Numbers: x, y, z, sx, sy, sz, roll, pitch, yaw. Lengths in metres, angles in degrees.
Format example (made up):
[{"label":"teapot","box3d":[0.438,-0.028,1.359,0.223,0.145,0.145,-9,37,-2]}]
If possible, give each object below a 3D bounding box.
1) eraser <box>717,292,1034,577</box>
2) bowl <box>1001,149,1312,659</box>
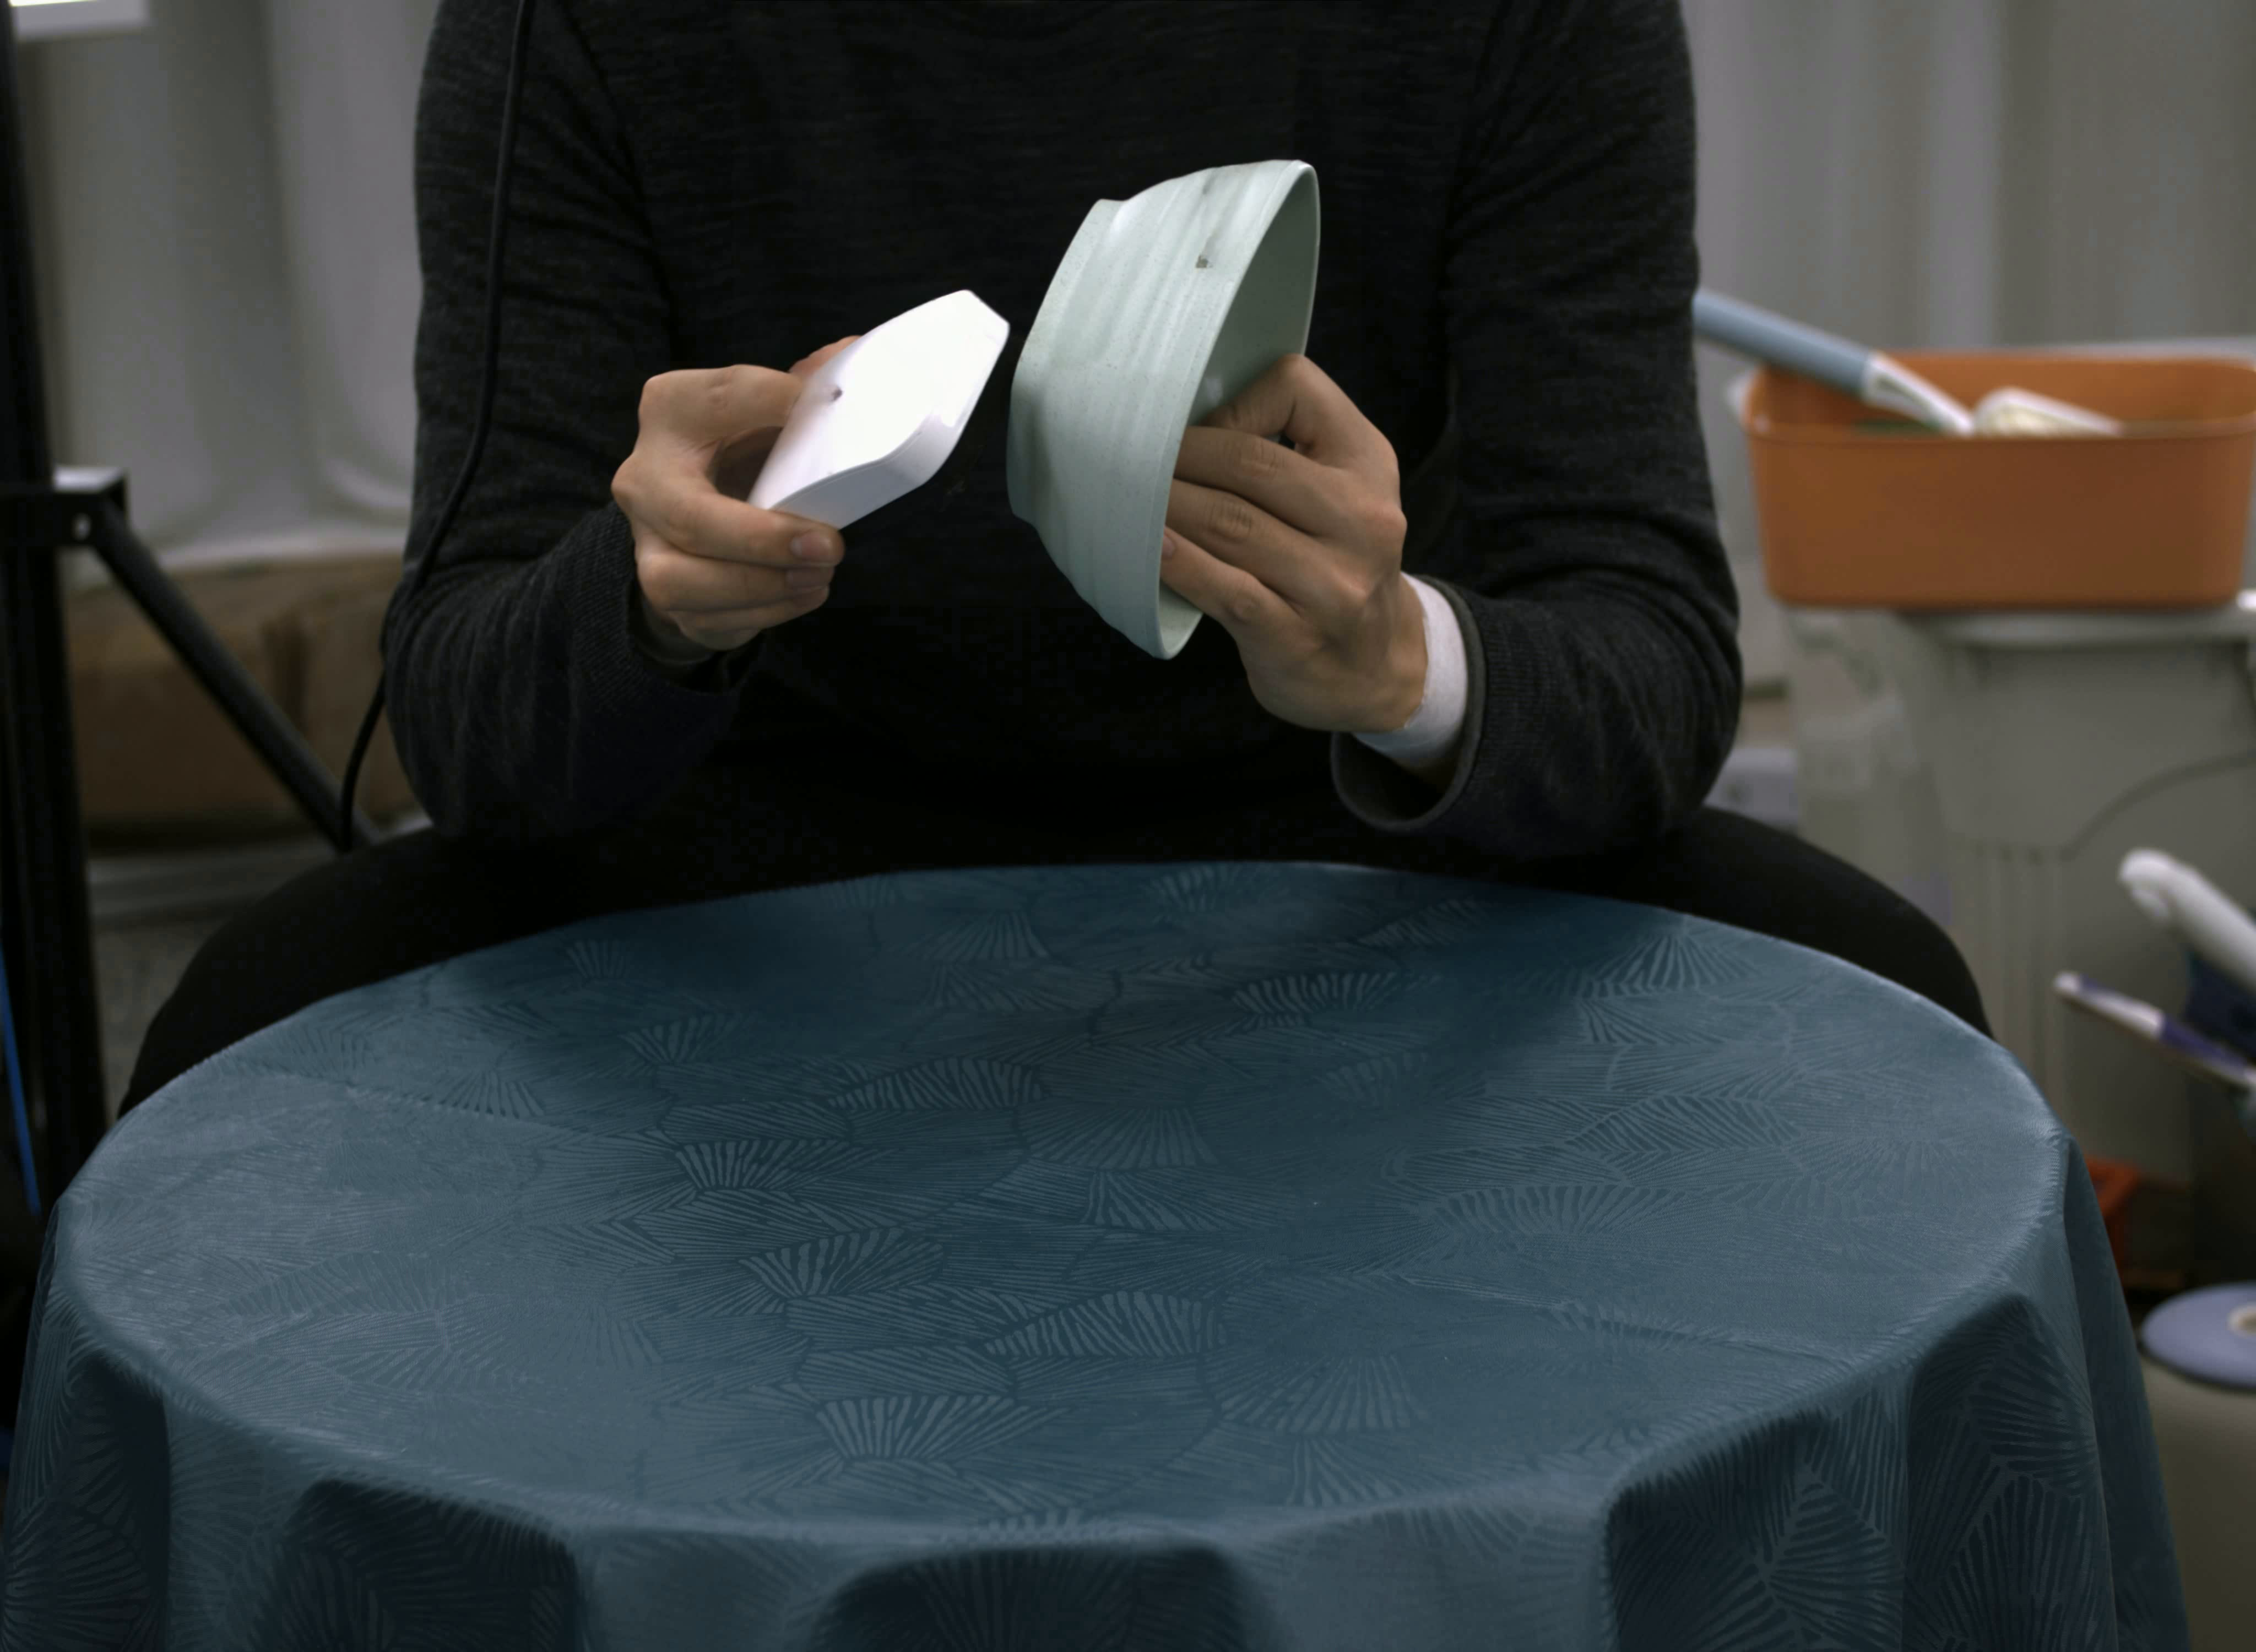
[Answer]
[{"label":"eraser","box3d":[-0.076,-0.115,1.566,0.034,0.063,0.133,36,-25,-19]},{"label":"bowl","box3d":[0.005,-0.129,1.556,0.059,0.152,0.150,17,20,13]}]
